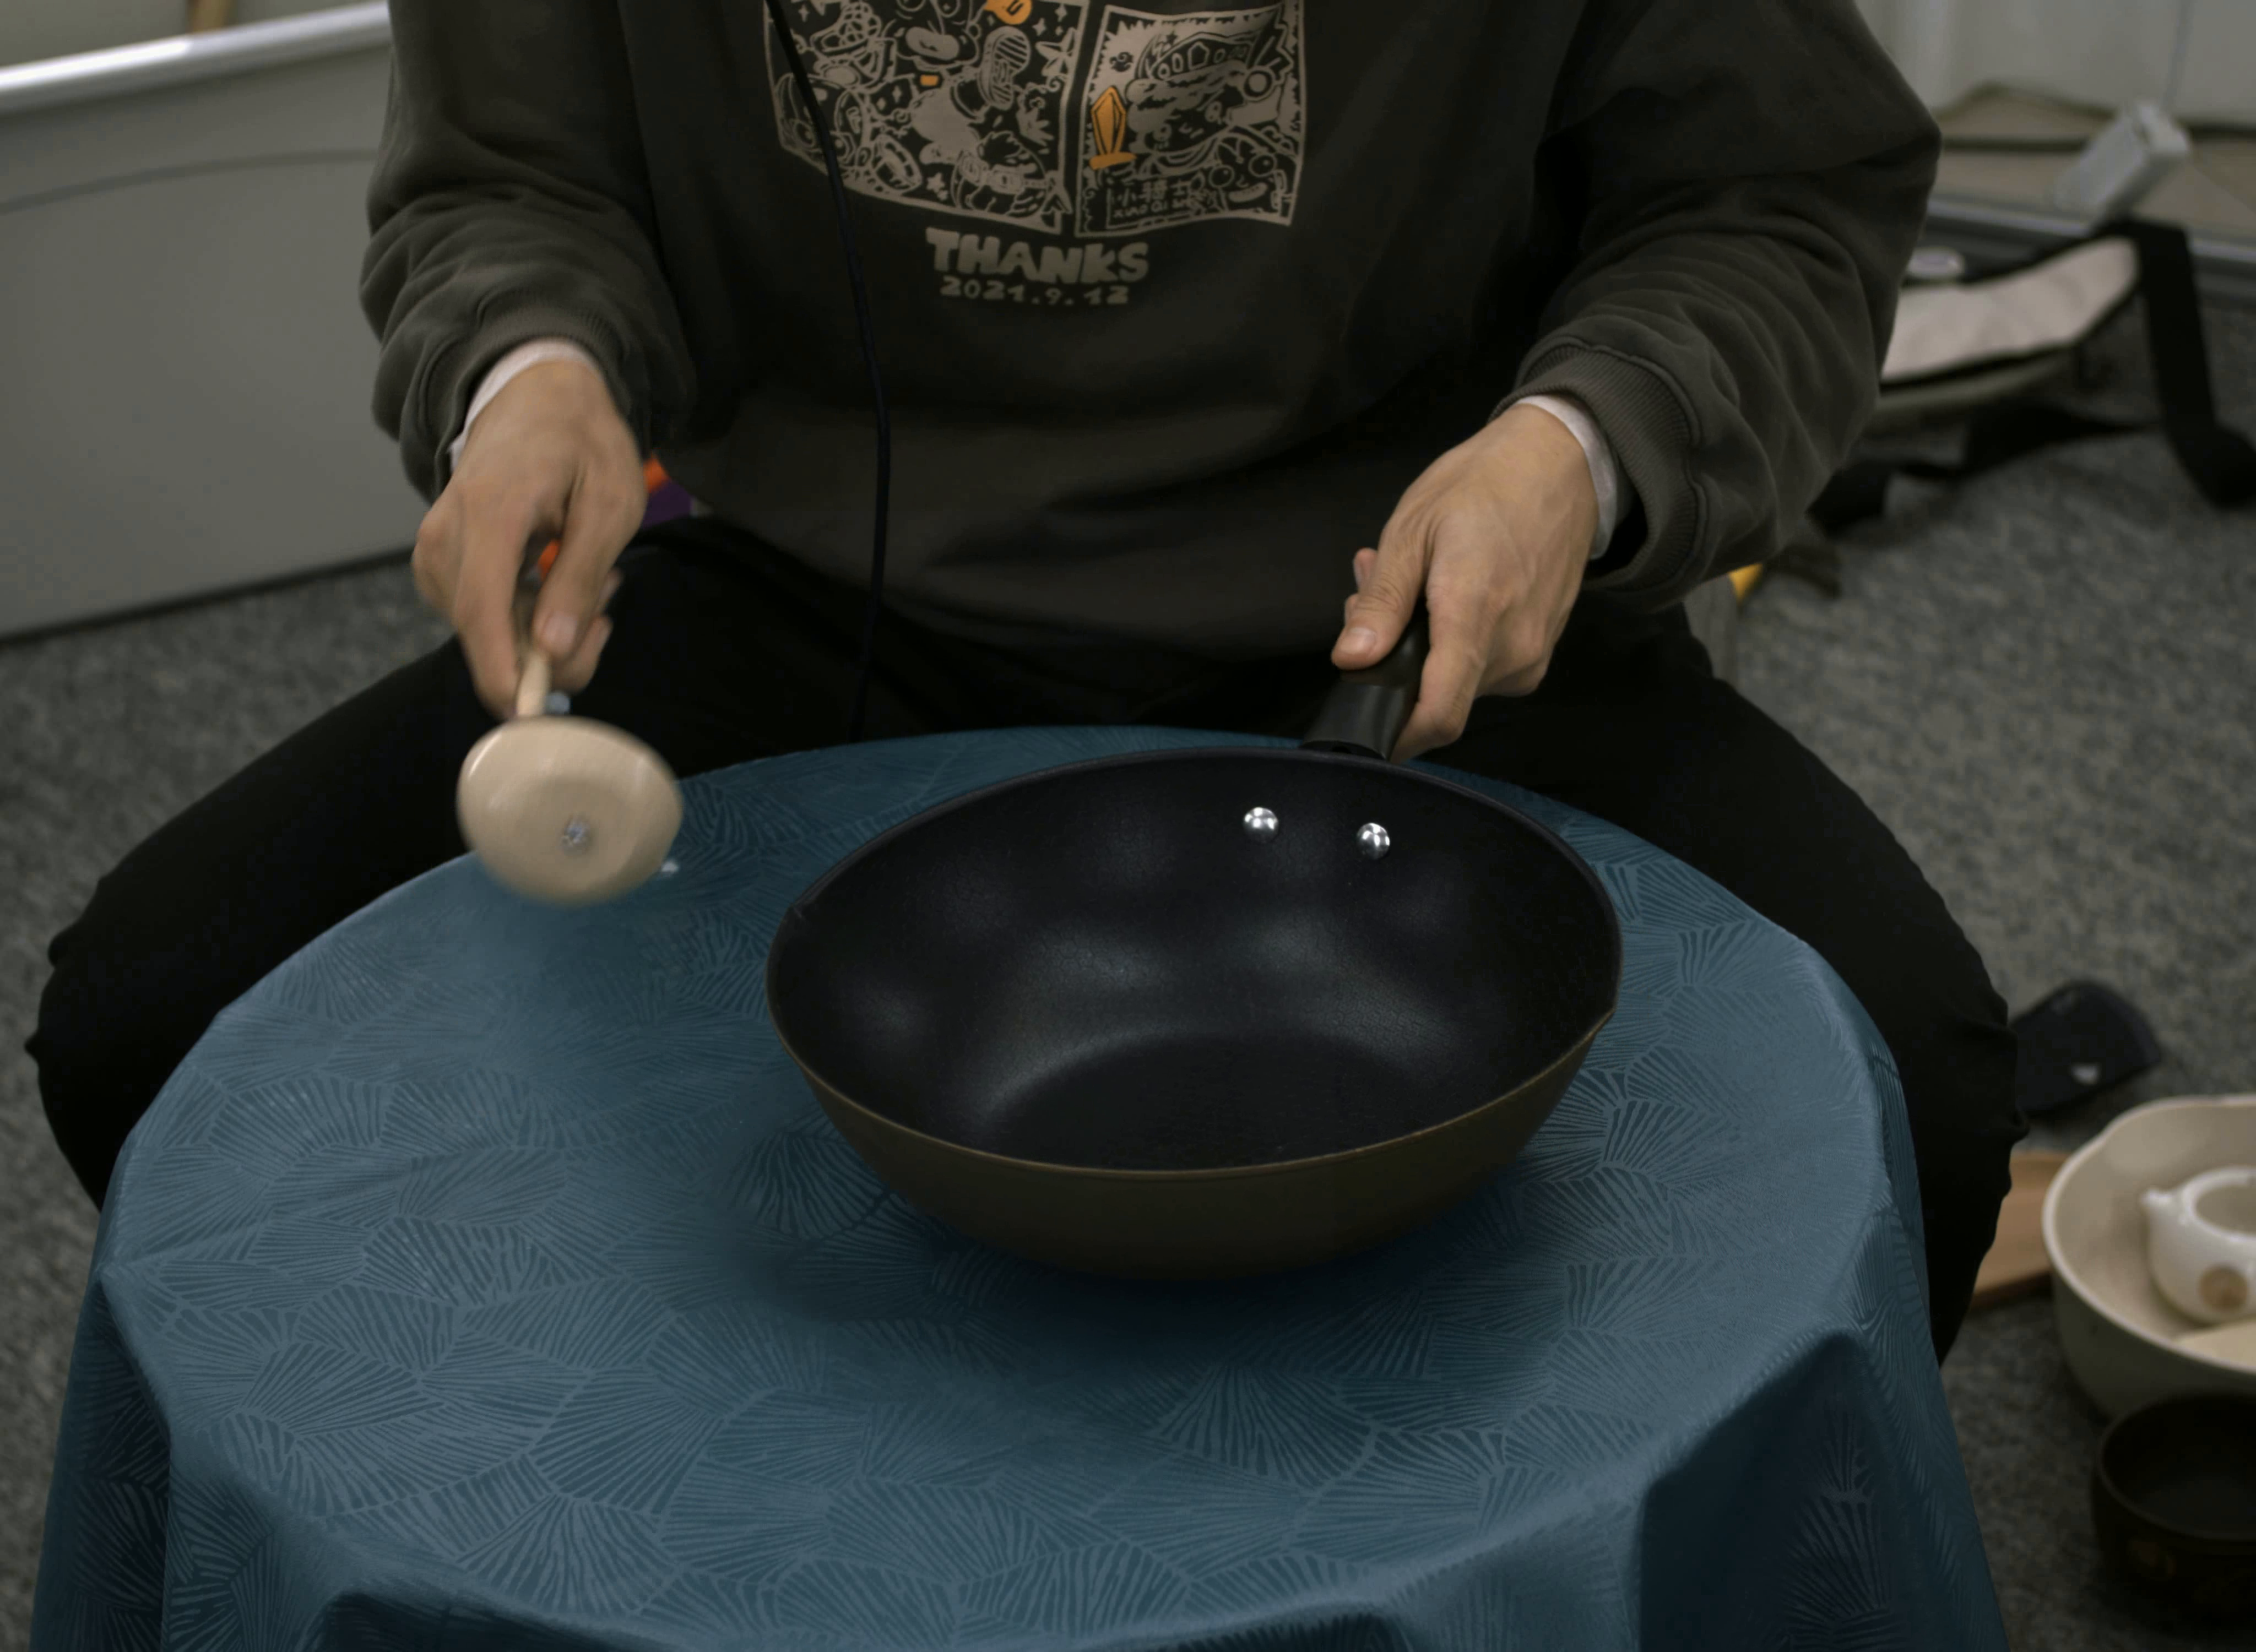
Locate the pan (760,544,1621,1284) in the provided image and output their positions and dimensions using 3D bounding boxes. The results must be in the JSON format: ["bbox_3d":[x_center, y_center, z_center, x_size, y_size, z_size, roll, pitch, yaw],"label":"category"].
[{"bbox_3d":[0.054,0.031,1.934,0.286,0.086,0.471,7,29,19],"label":"pan"}]

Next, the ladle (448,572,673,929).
[{"bbox_3d":[-0.194,-0.051,1.900,0.072,0.072,0.258,26,24,-21],"label":"ladle"}]
